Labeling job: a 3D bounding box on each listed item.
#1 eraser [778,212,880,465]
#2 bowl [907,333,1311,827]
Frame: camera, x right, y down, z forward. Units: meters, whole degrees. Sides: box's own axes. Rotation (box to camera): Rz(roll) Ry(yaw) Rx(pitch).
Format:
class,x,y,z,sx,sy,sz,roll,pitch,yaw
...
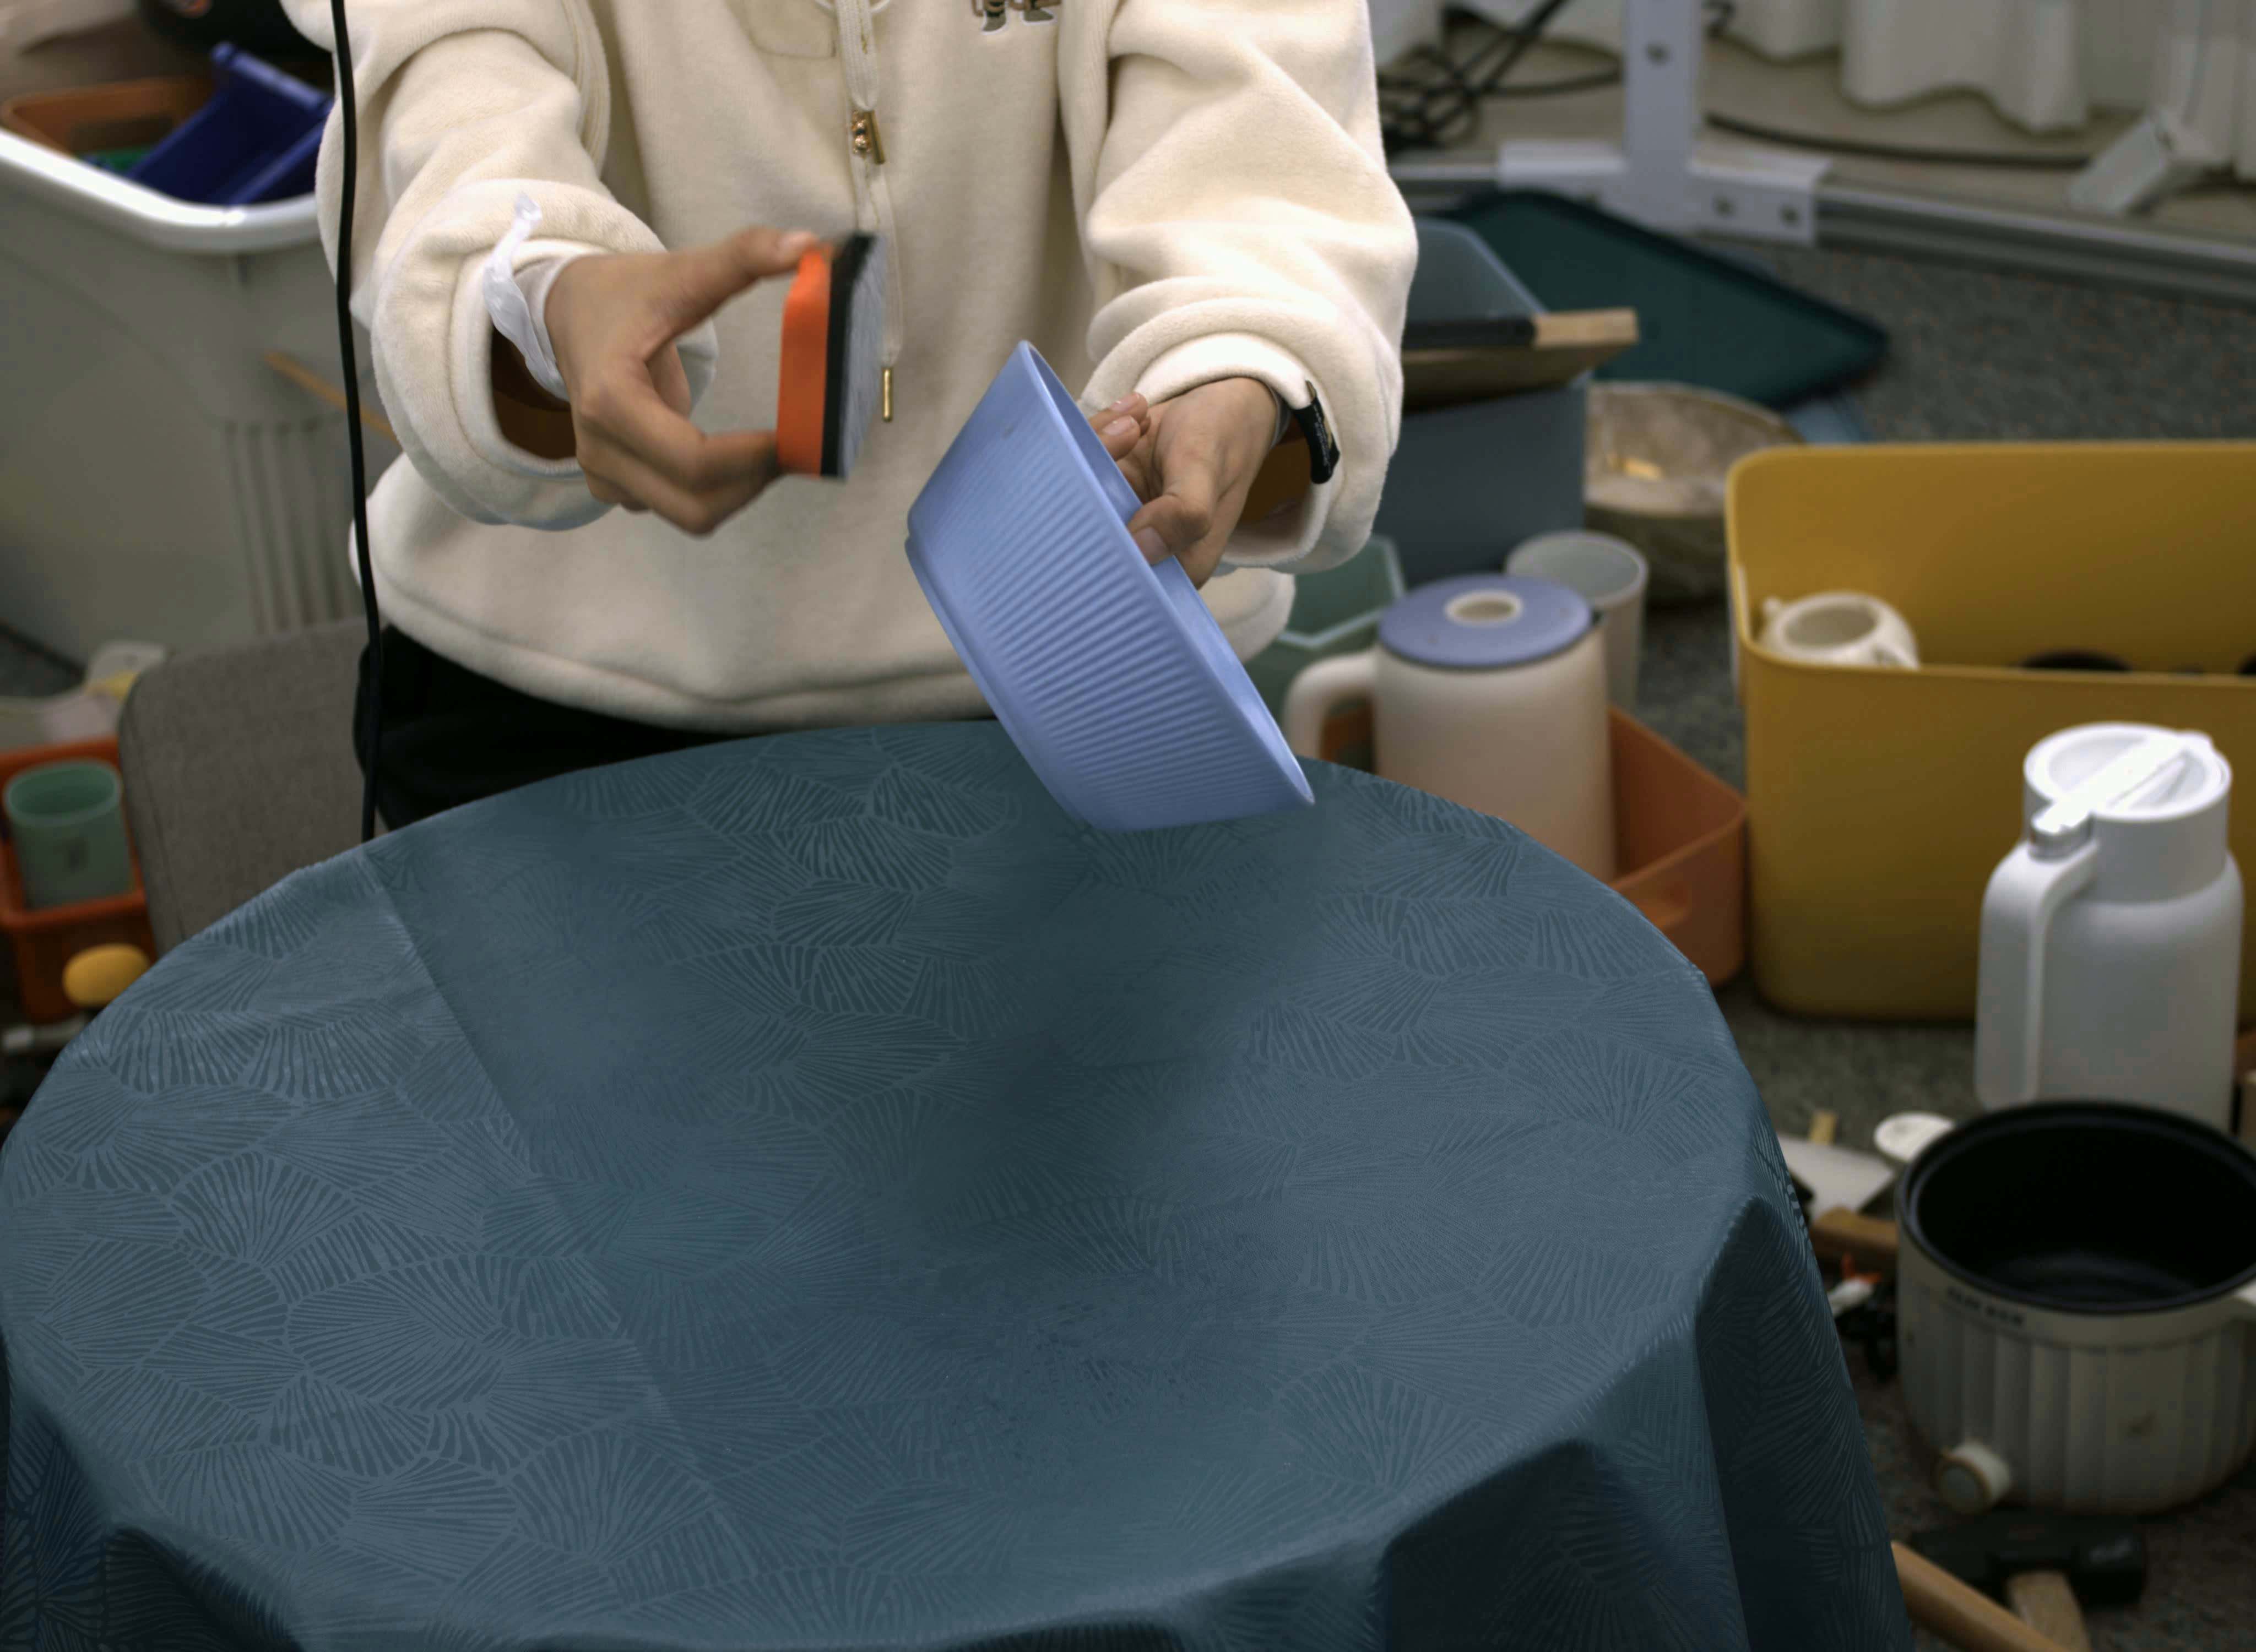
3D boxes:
class,x,y,z,sx,sy,sz,roll,pitch,yaw
eraser,-0.094,-0.154,1.772,0.023,0.058,0.109,1,19,3
bowl,-0.014,-0.066,1.801,0.070,0.174,0.178,-32,29,3
